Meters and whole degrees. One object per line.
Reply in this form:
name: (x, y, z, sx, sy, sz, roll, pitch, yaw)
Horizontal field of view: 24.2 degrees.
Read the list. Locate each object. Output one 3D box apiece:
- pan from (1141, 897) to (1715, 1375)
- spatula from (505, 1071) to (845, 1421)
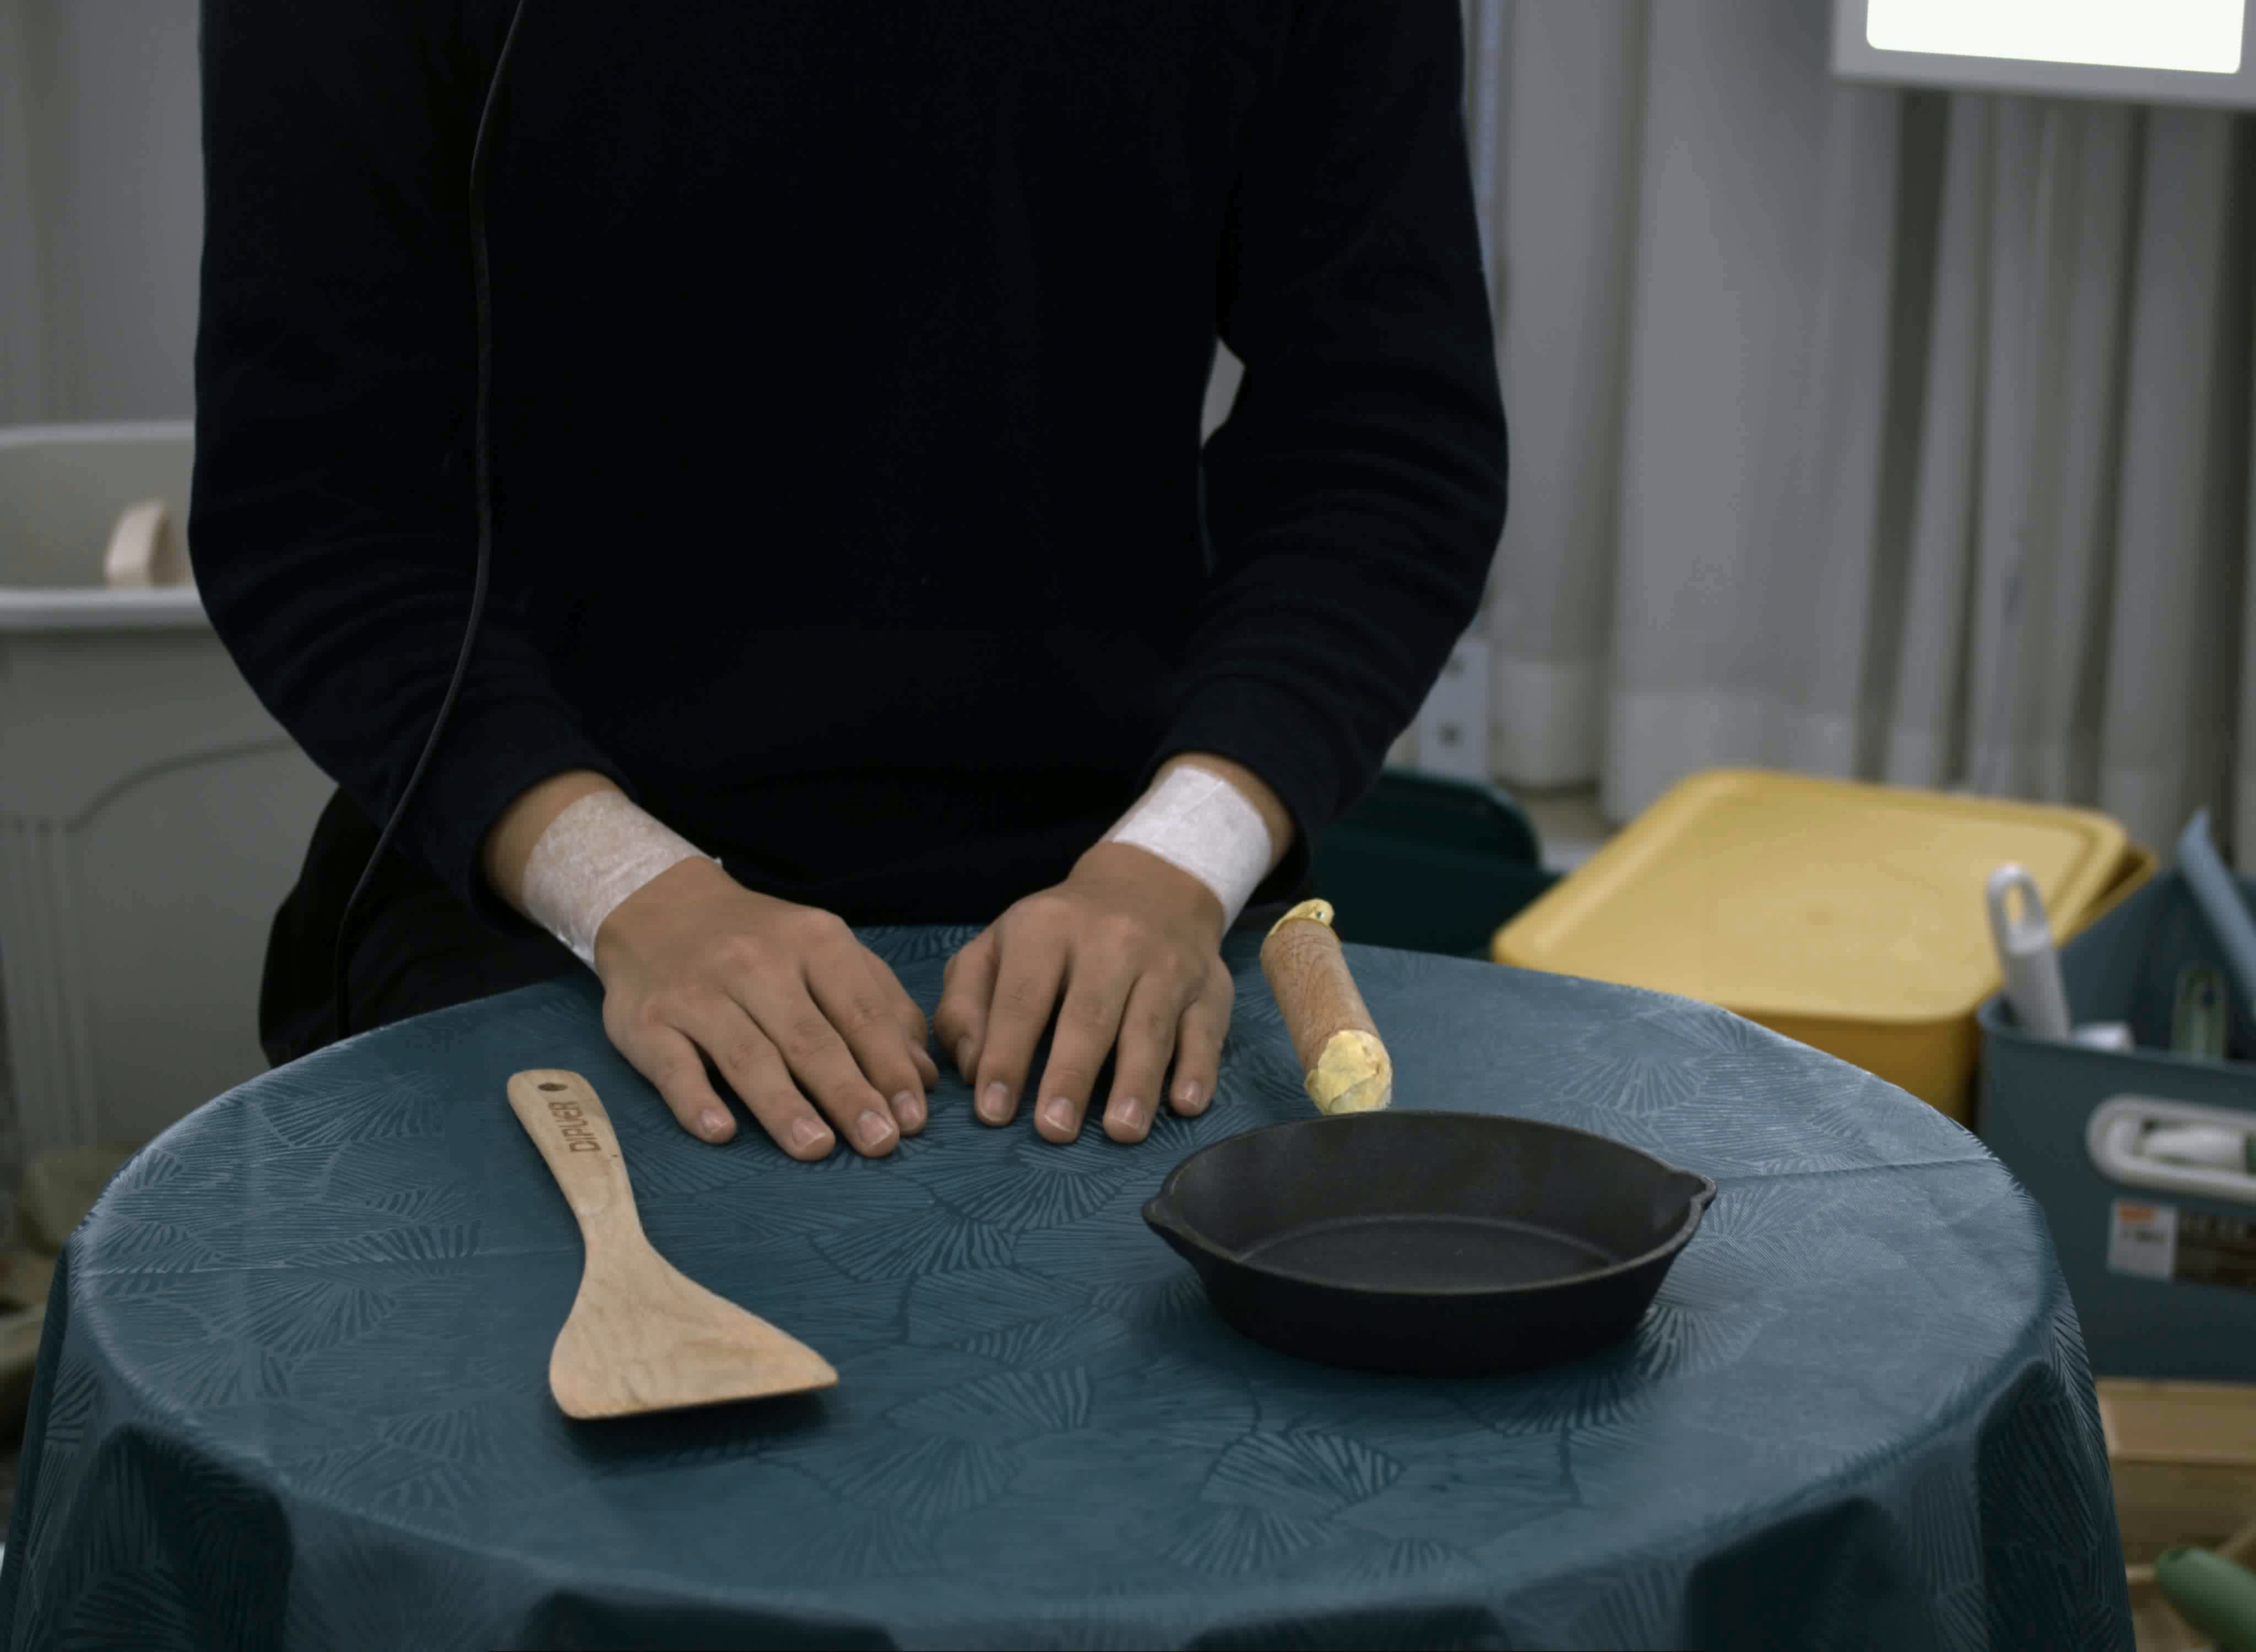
pan: (0.078, 0.091, 1.606, 0.169, 0.050, 0.321, -1, 17, -7)
spatula: (-0.150, 0.120, 1.560, 0.080, 0.016, 0.324, -3, 16, -14)
